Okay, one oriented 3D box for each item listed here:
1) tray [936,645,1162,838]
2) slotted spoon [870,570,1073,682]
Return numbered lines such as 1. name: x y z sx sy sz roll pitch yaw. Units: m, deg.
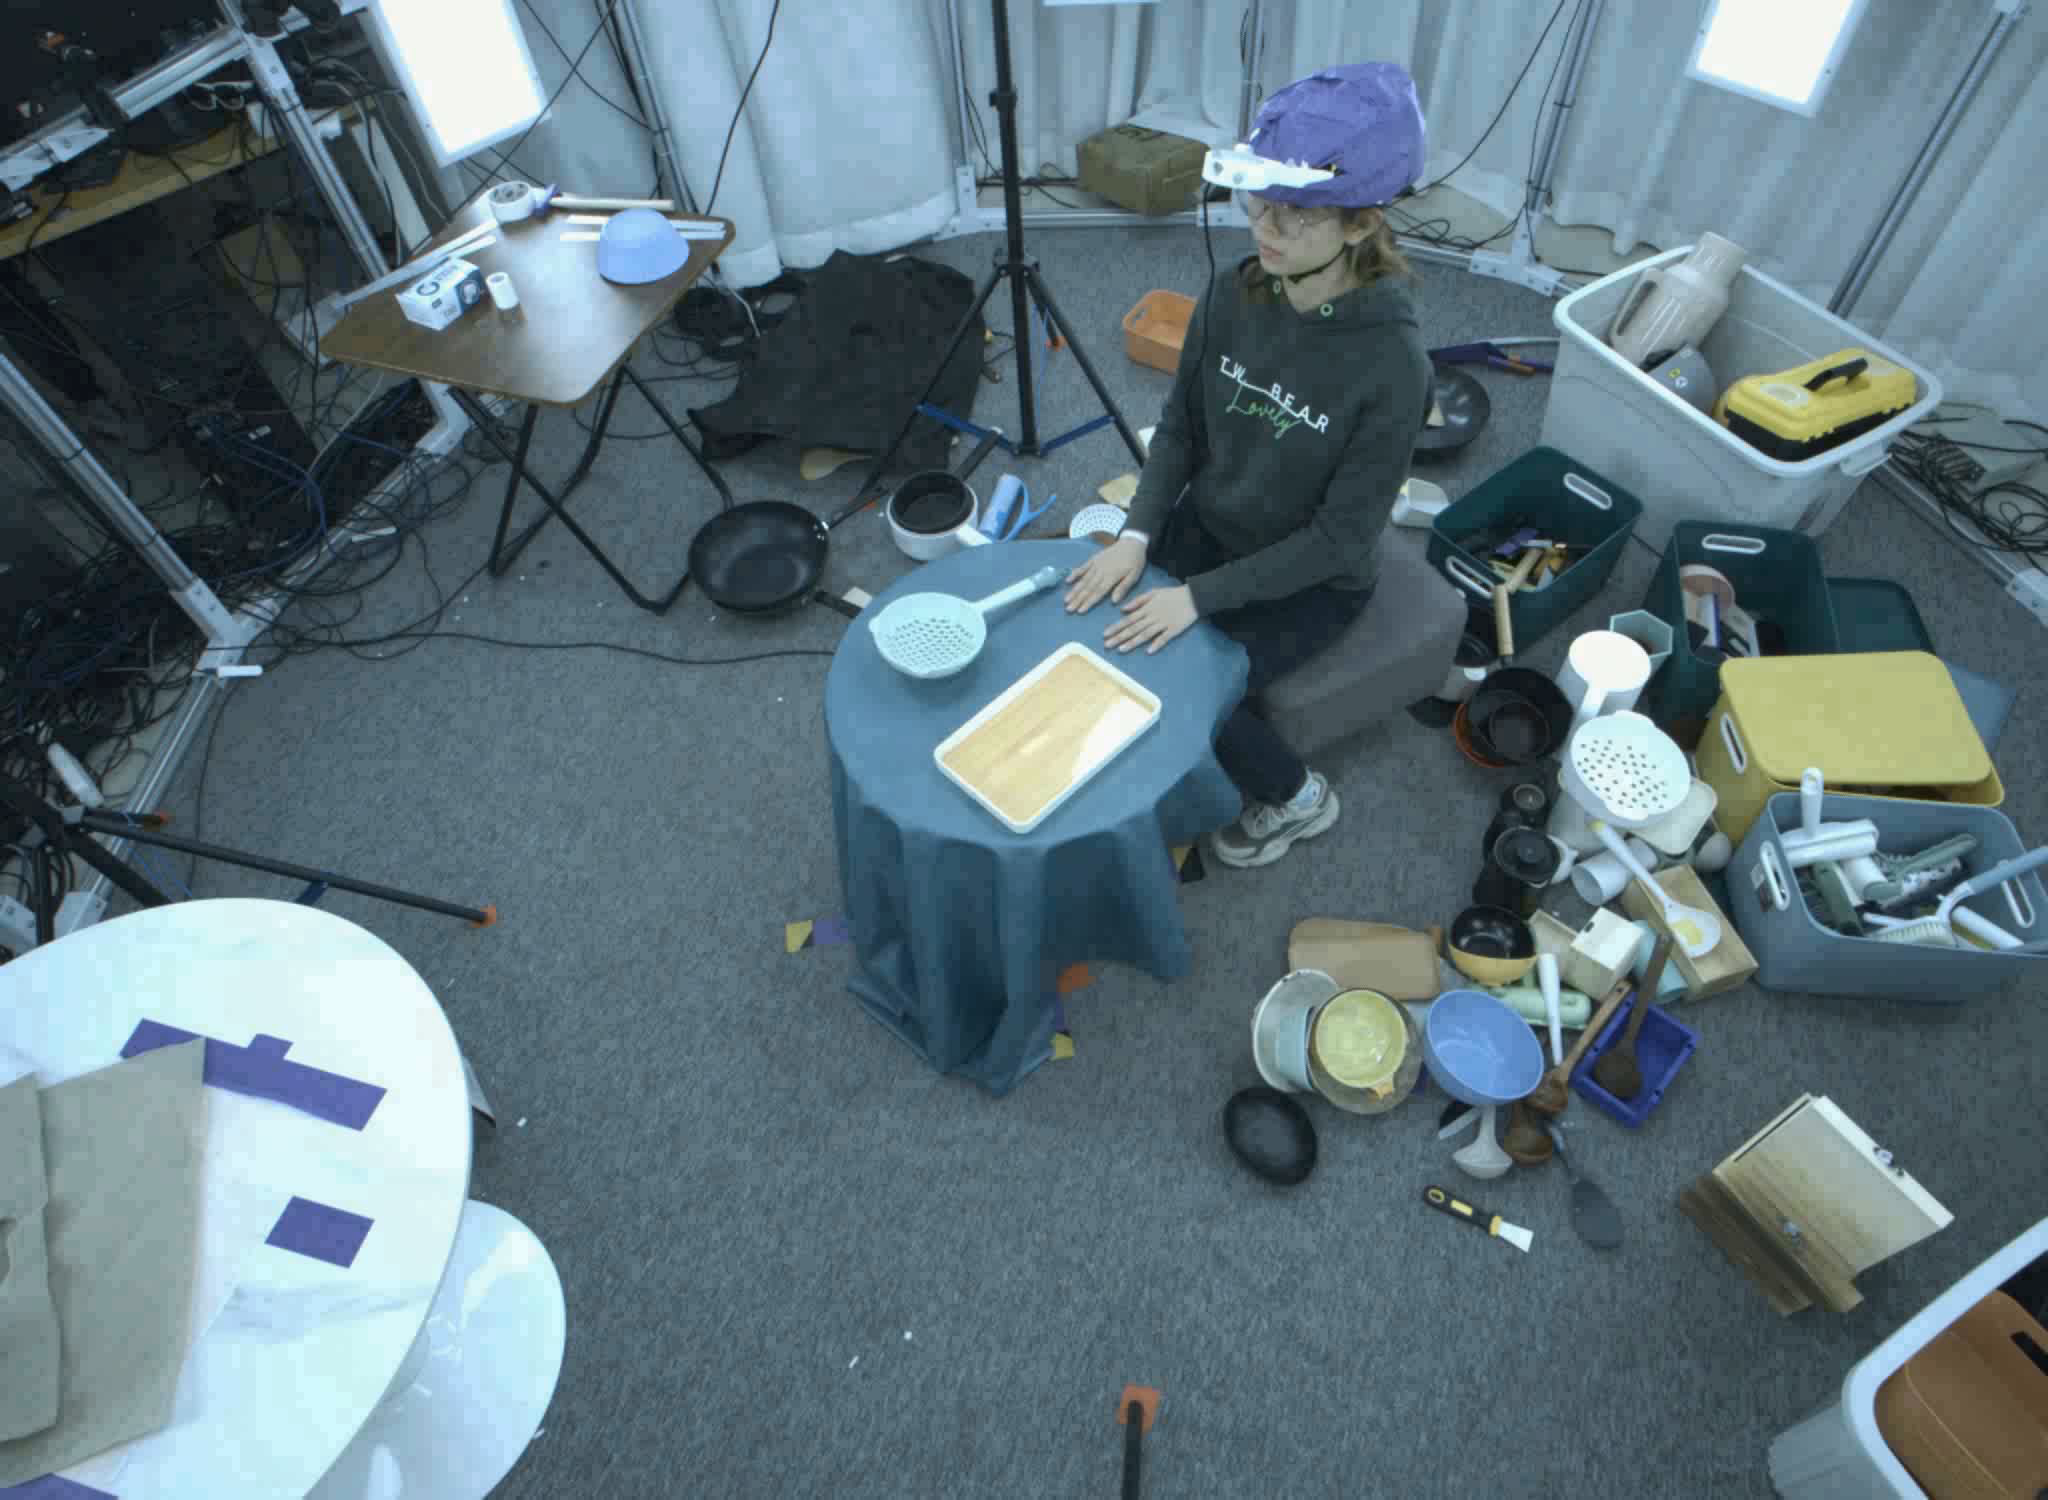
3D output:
1. tray: 0.039 -0.018 1.793 0.188 0.028 0.302 39 65 25
2. slotted spoon: -0.066 -0.212 1.909 0.361 0.076 0.166 -34 61 -20
